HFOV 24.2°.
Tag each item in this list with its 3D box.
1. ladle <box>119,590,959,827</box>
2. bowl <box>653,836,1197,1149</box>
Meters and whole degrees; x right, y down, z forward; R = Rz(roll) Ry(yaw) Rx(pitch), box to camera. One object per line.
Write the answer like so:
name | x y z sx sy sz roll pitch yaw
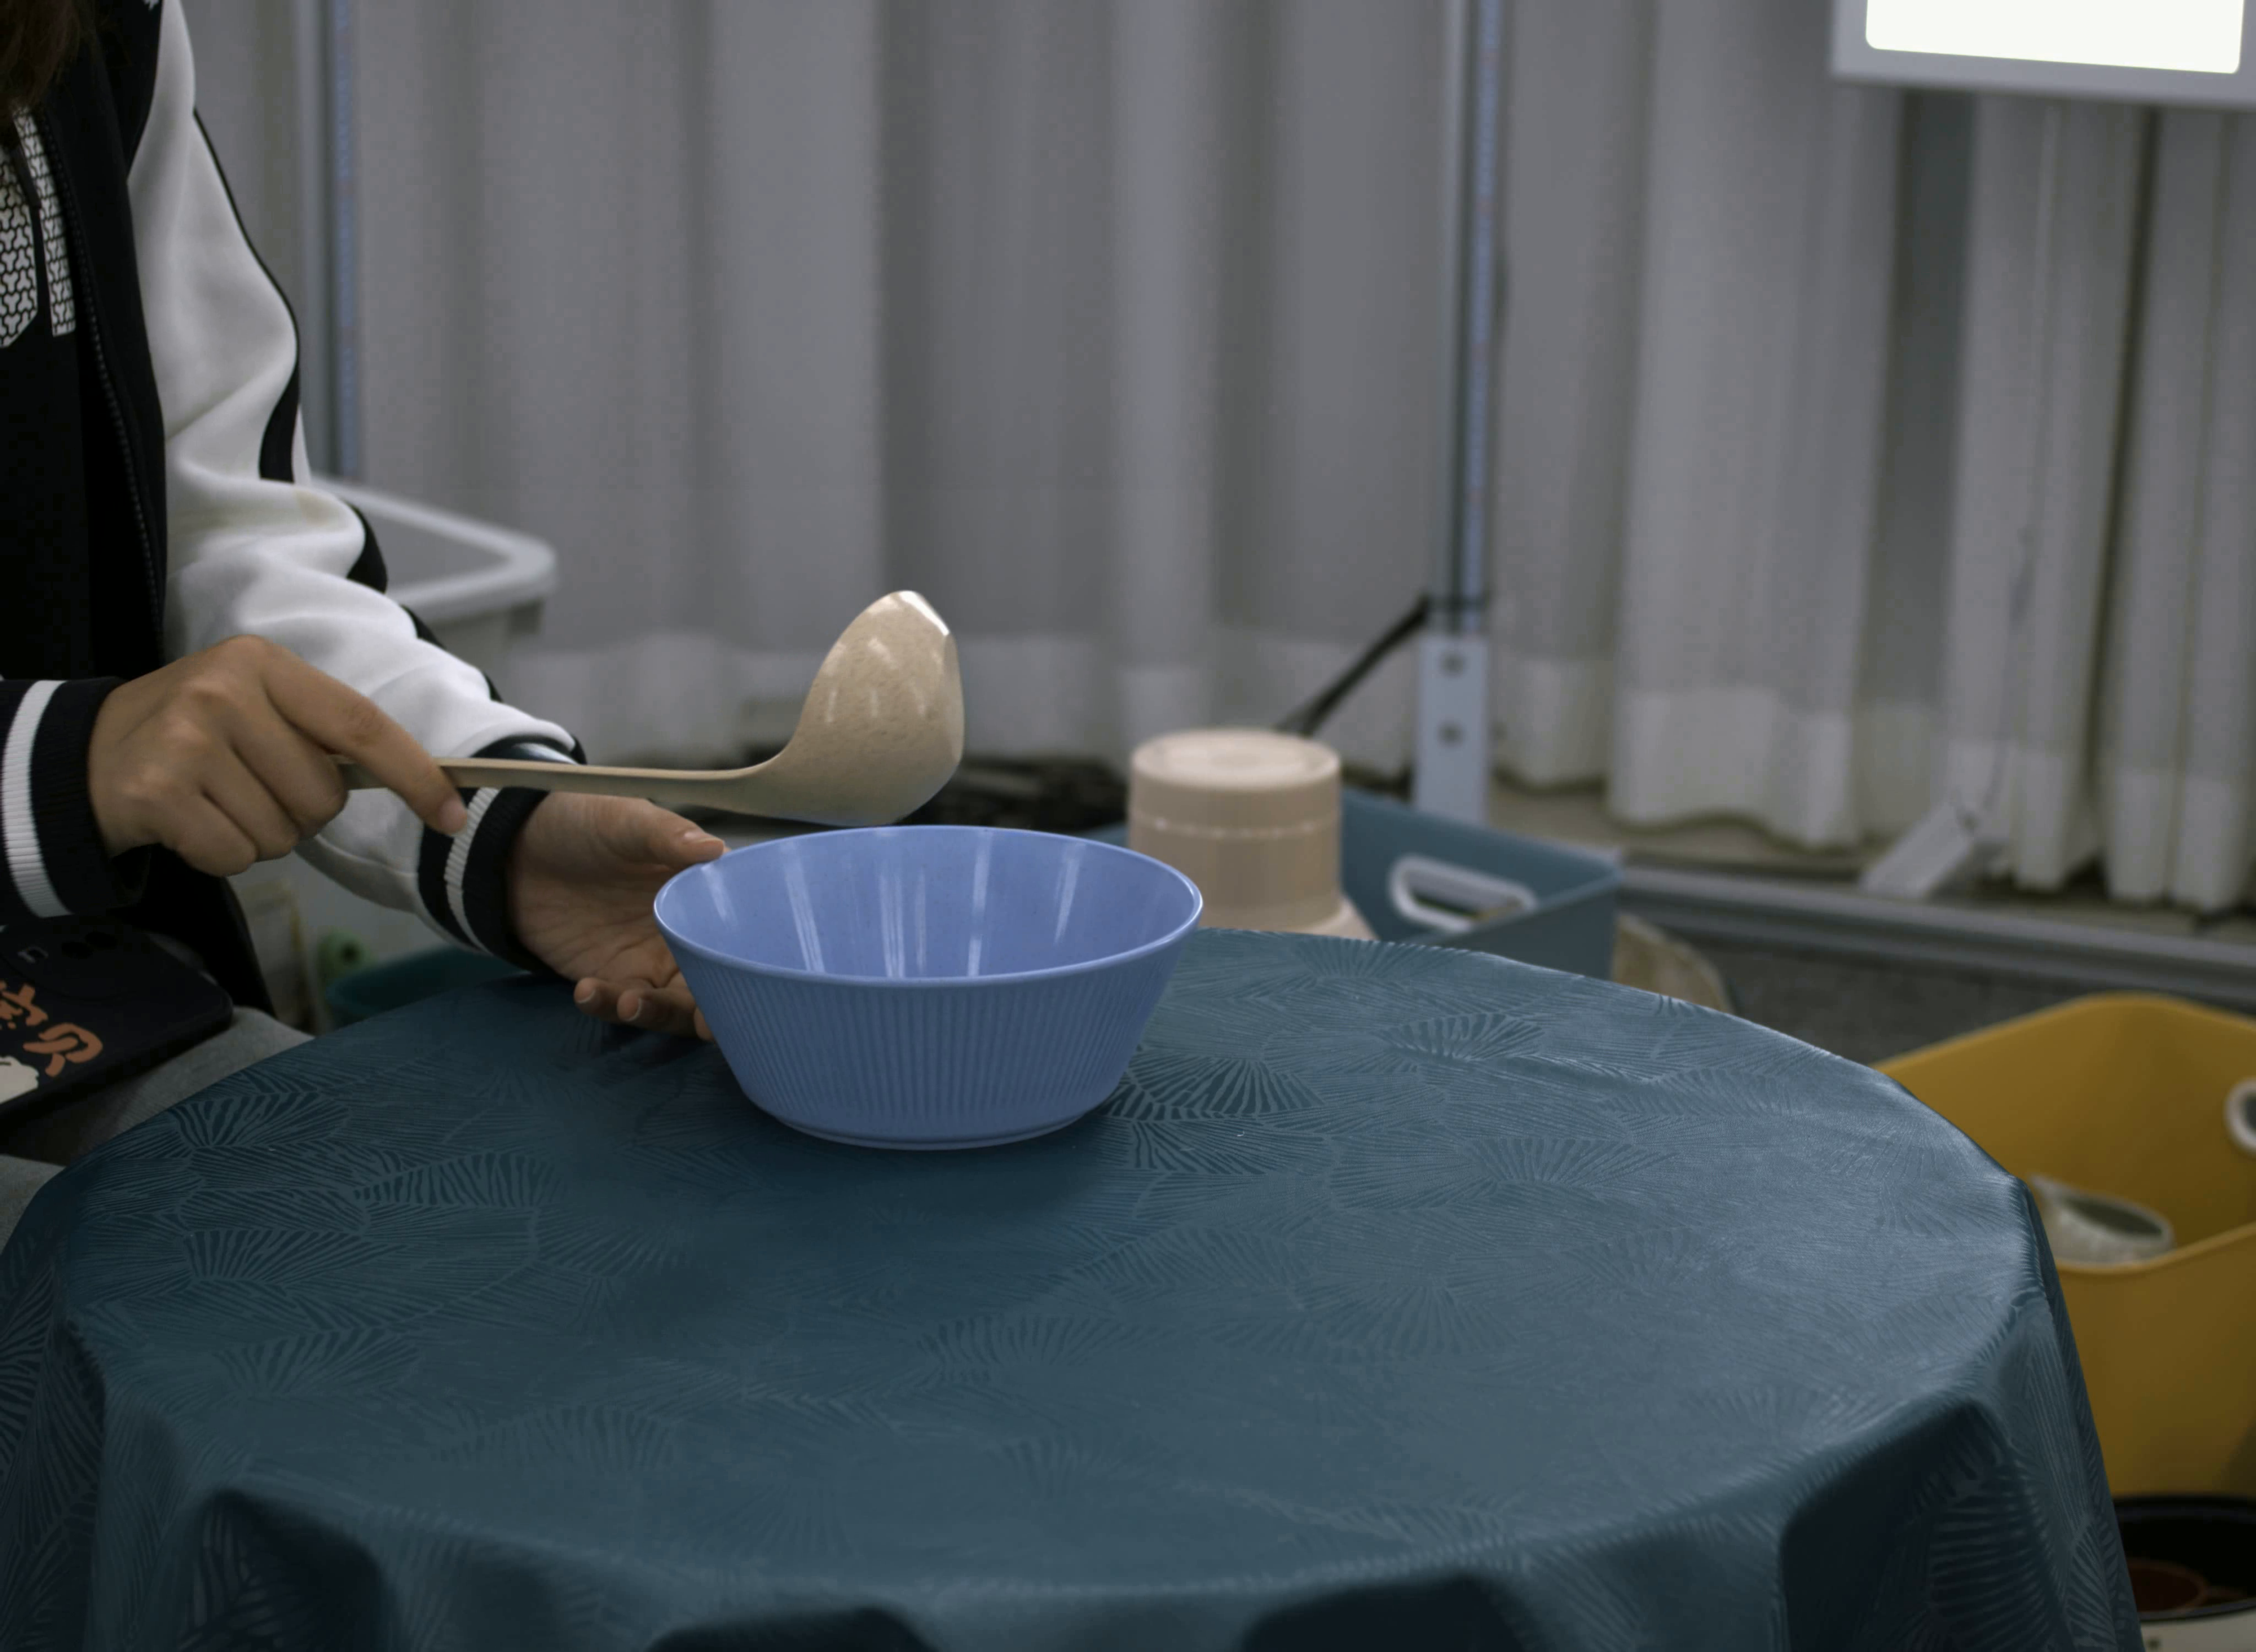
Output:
ladle | -0.177 -0.039 1.603 0.253 0.073 0.072 2 55 7
bowl | -0.065 0.055 1.694 0.175 0.071 0.175 1 15 0
